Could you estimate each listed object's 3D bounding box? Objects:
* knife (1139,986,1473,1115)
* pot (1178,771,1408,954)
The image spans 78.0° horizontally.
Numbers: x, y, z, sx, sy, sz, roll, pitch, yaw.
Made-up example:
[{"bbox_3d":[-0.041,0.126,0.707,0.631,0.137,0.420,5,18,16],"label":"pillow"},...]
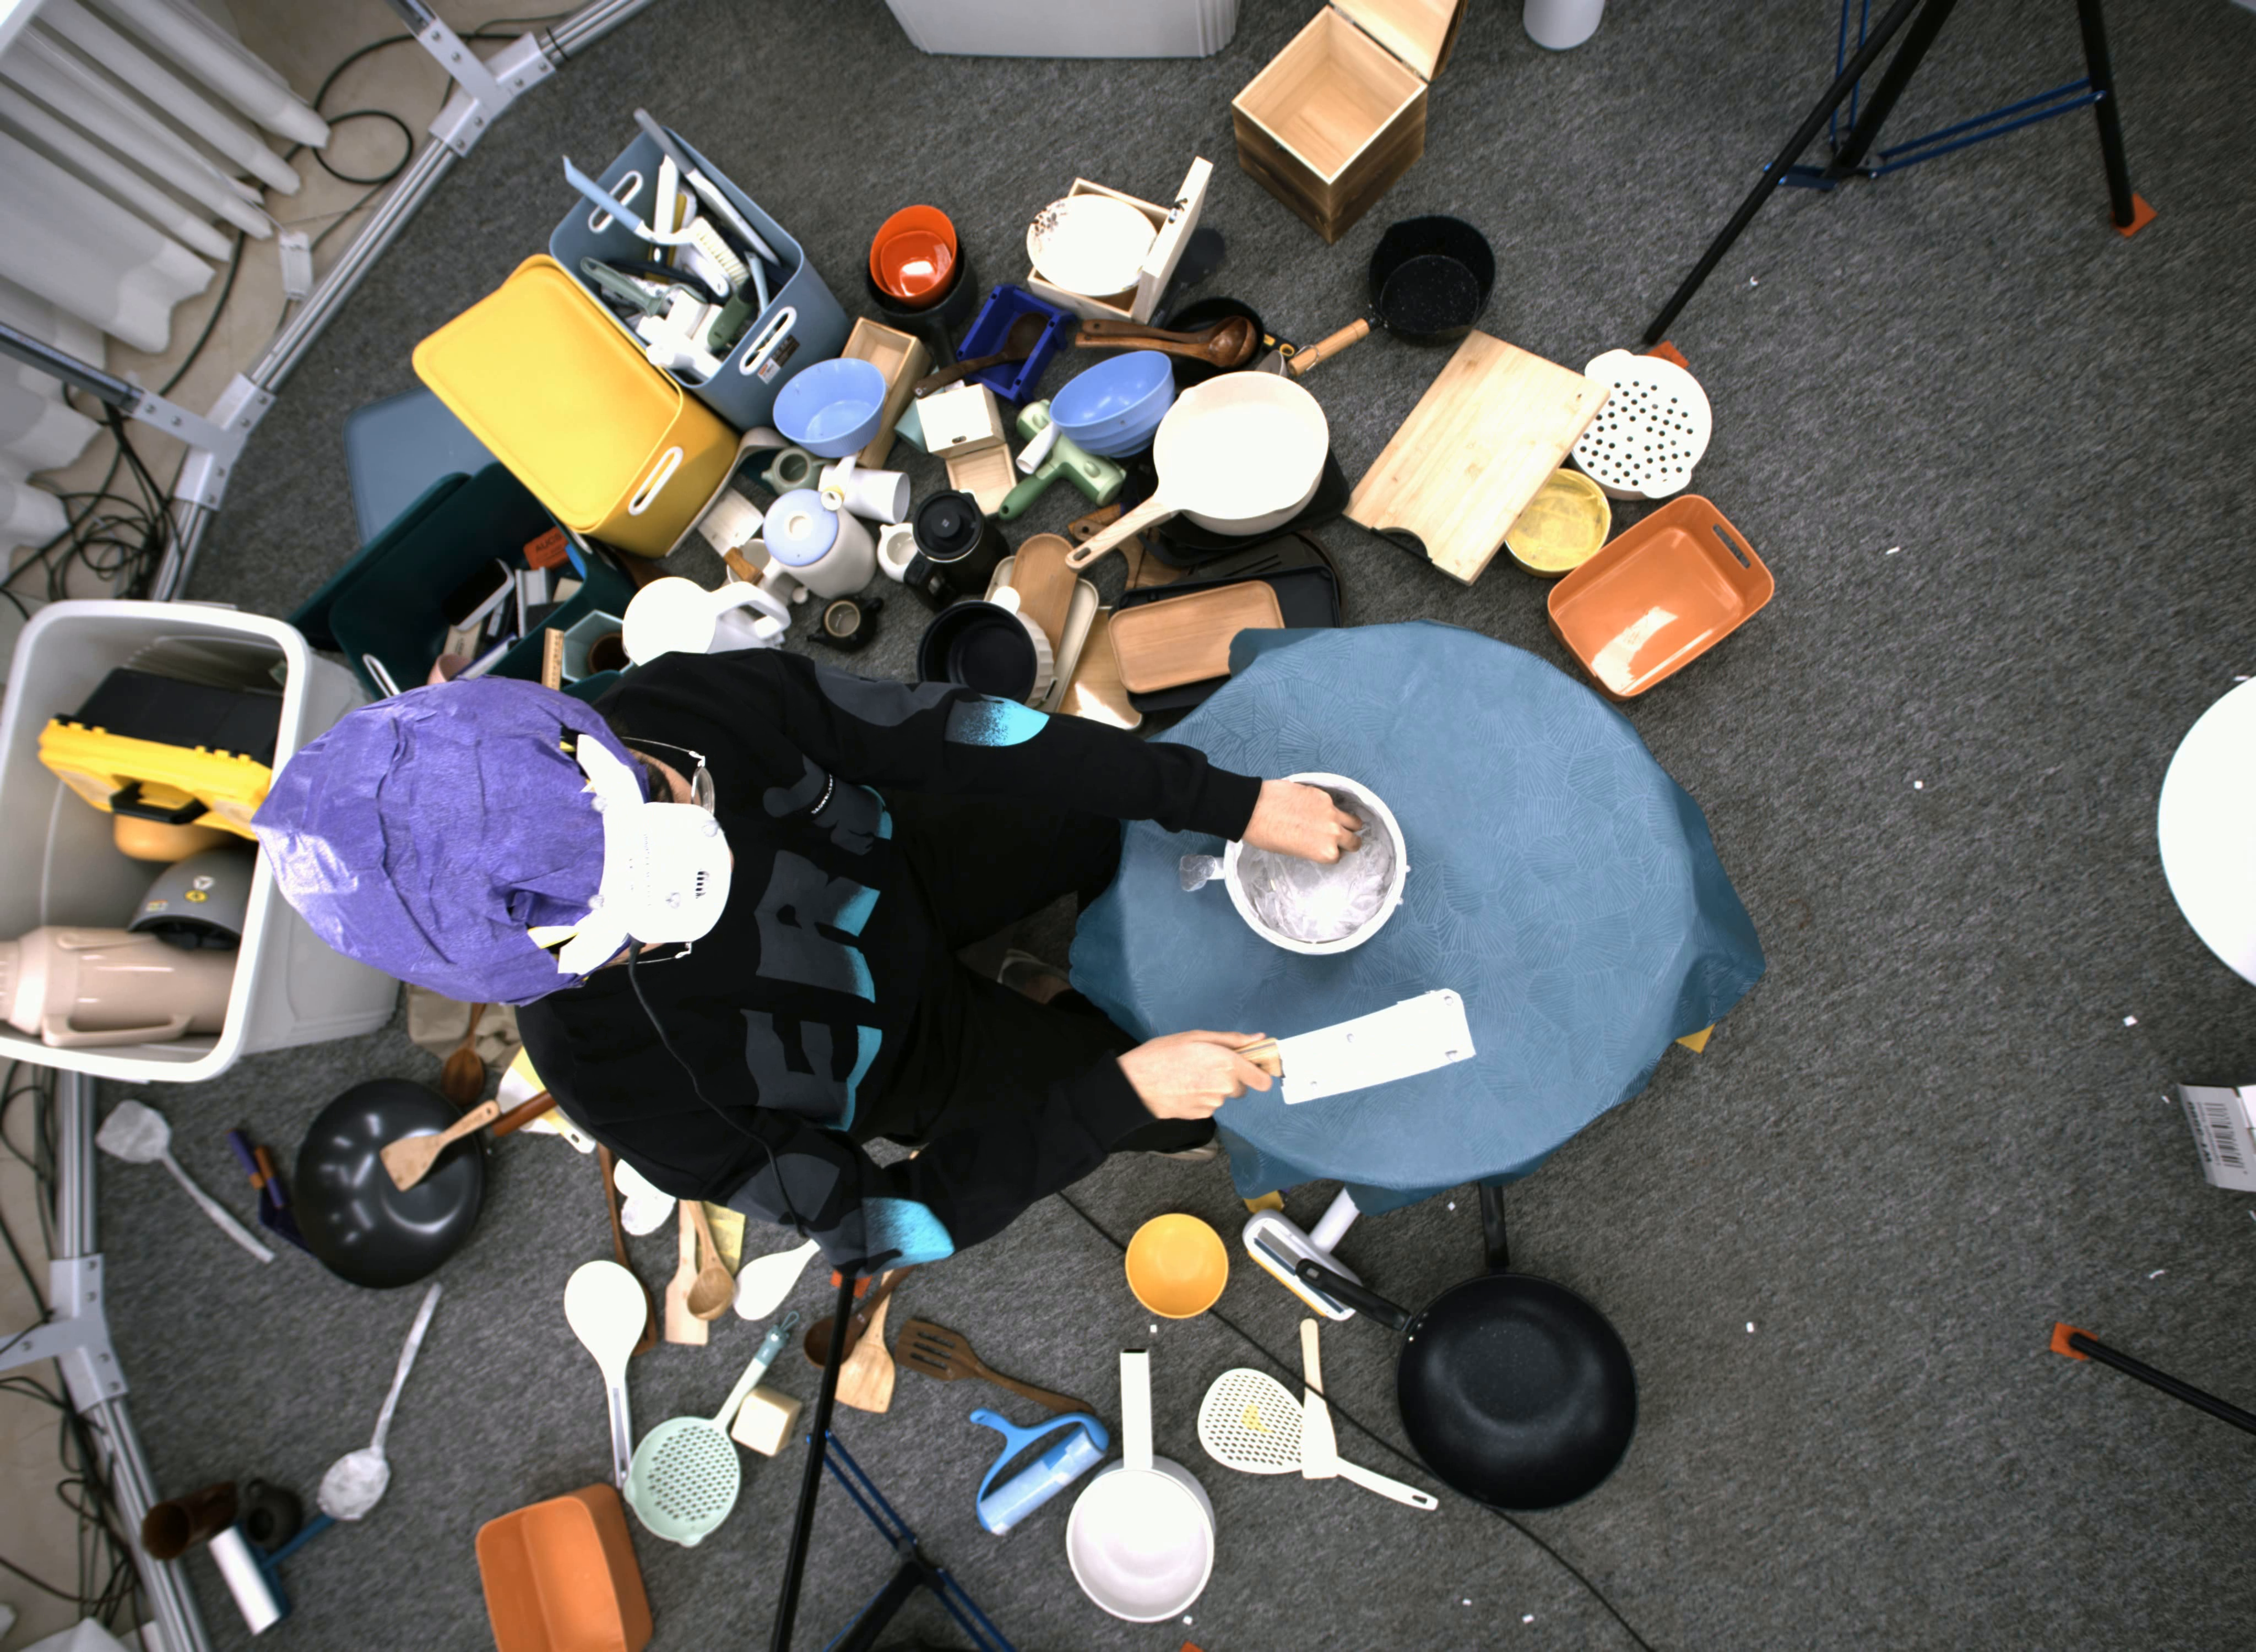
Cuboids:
[{"bbox_3d":[0.166,0.215,1.293,0.316,0.021,0.116,-13,128,2],"label":"knife"},{"bbox_3d":[0.164,0.042,1.411,0.234,0.137,0.177,-3,84,9],"label":"pot"}]
